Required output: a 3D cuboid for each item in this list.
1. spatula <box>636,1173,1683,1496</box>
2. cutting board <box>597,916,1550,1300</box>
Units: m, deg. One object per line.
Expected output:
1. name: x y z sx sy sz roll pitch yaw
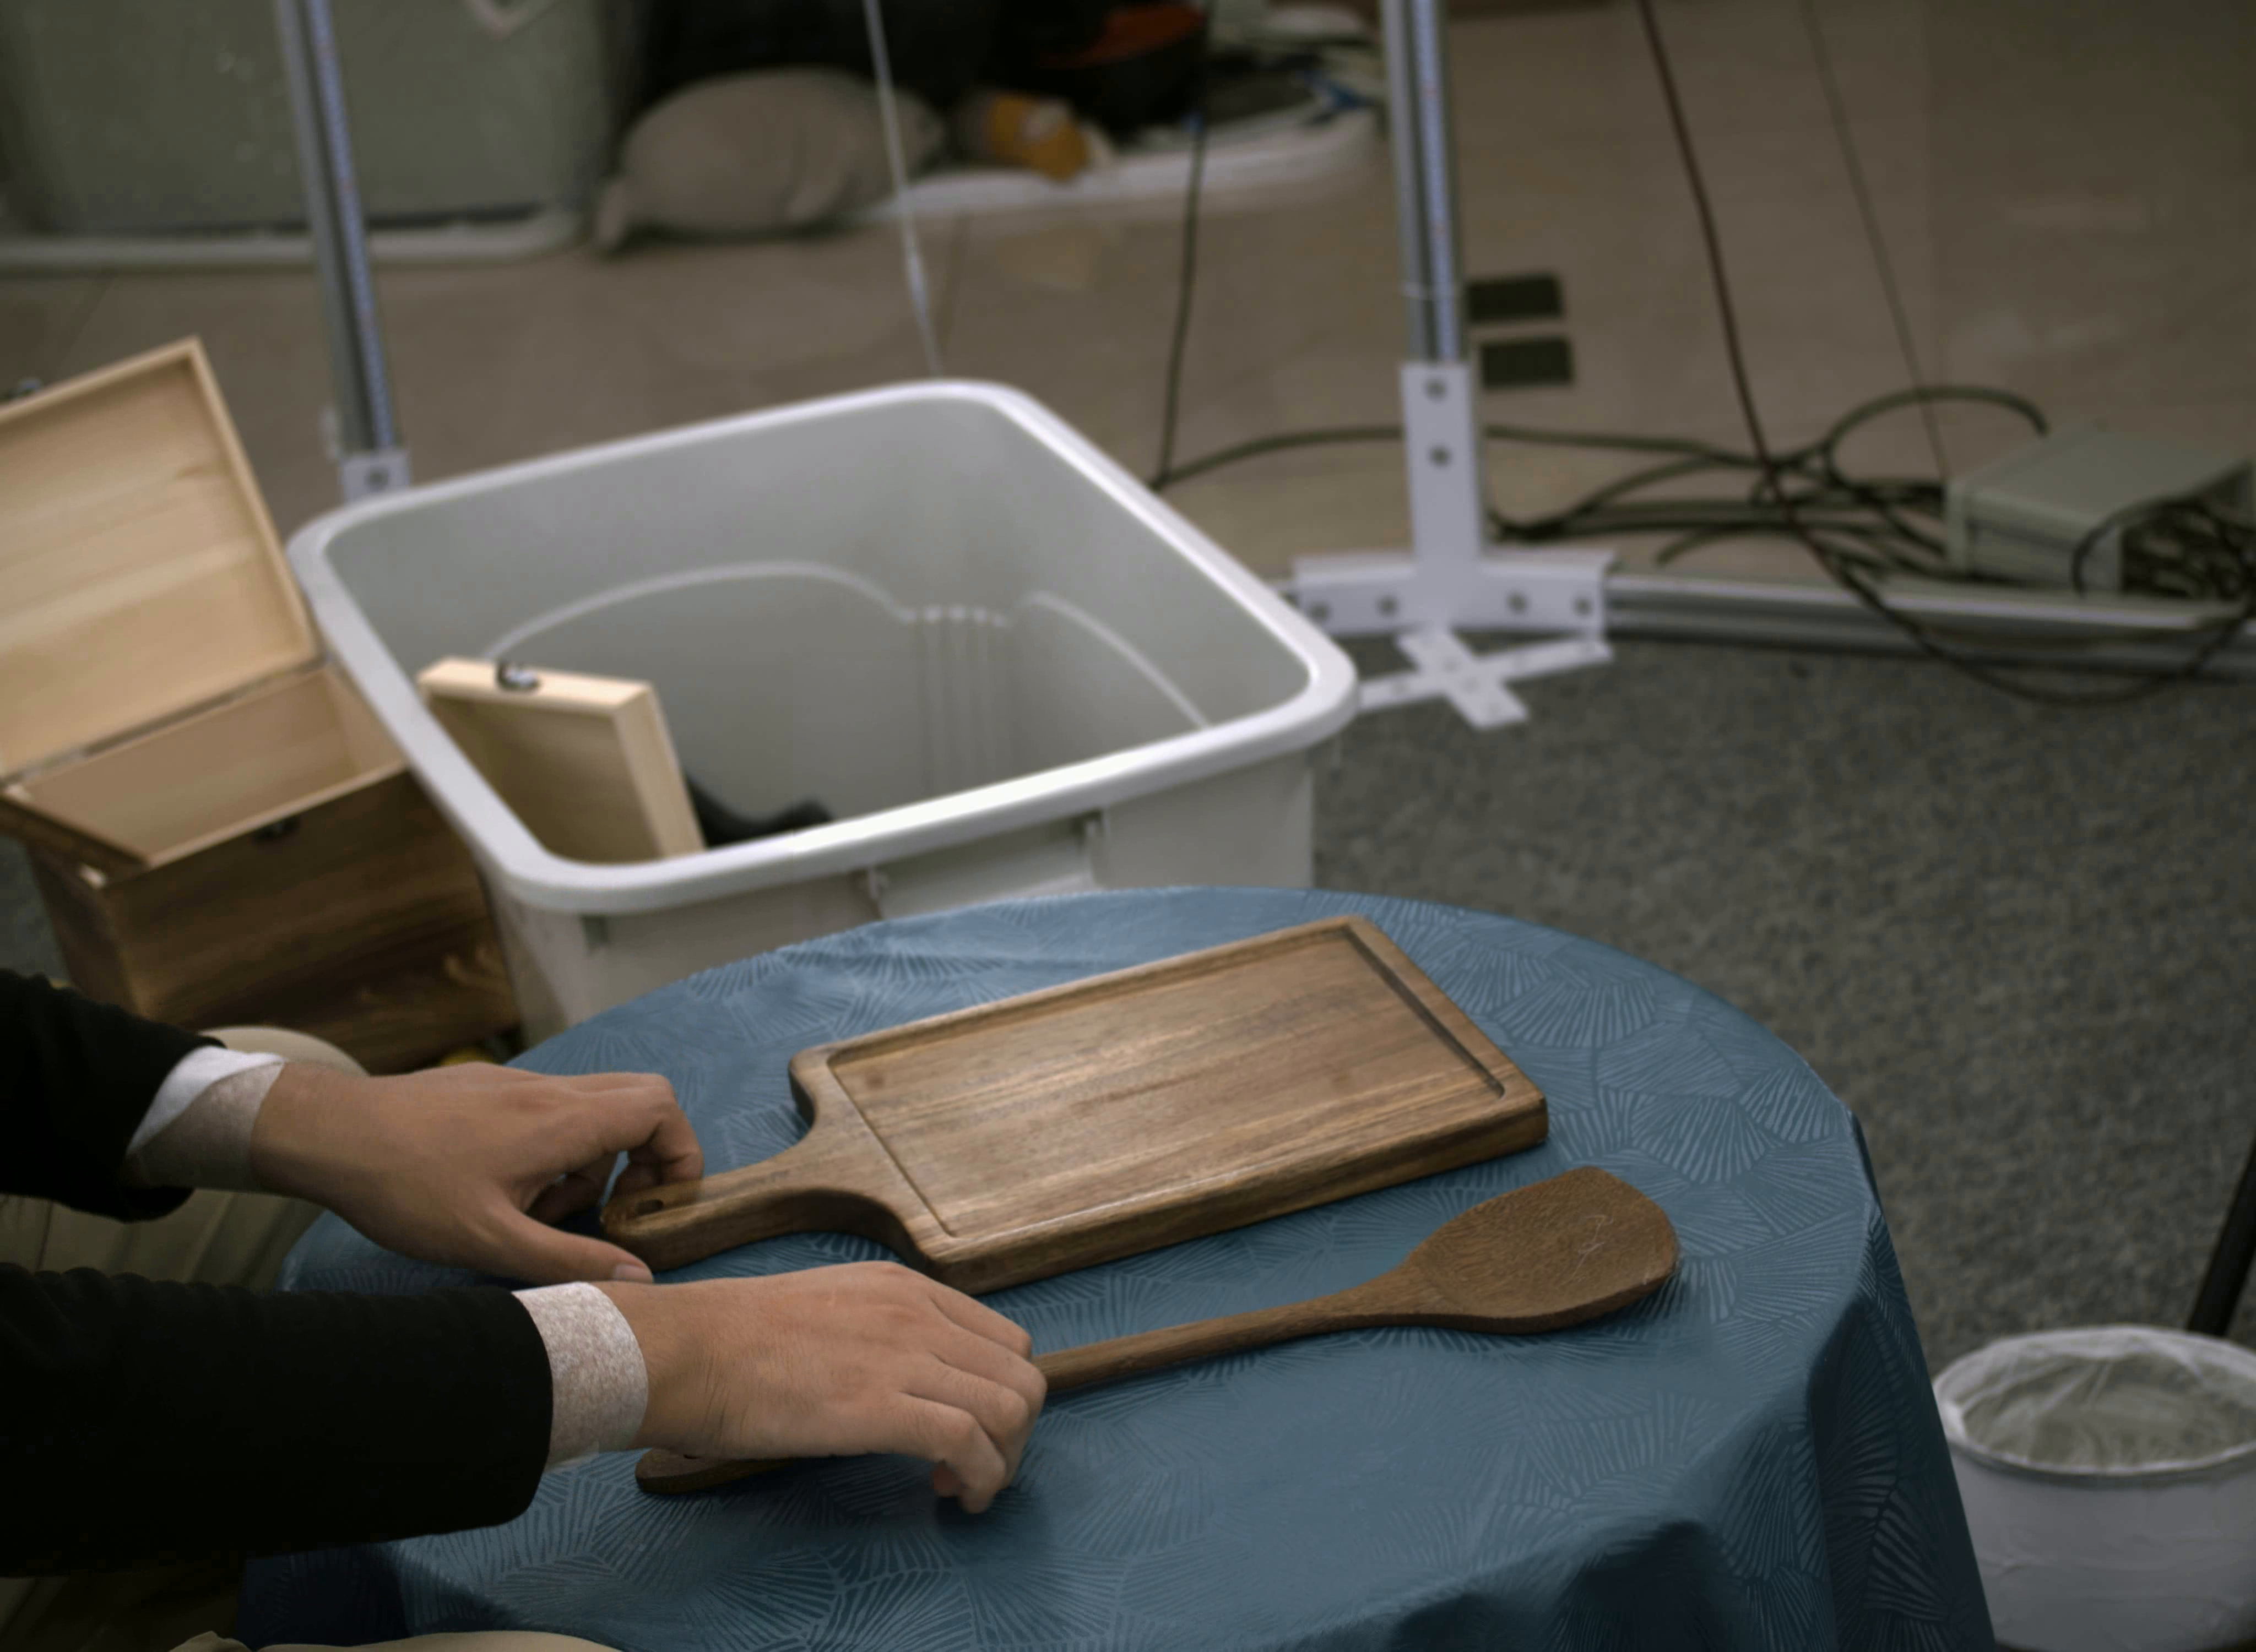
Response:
1. spatula: 0.011 0.186 2.026 0.385 0.016 0.095 -12 25 -12
2. cutting board: -0.035 0.116 2.181 0.351 0.023 0.198 -14 26 -16
